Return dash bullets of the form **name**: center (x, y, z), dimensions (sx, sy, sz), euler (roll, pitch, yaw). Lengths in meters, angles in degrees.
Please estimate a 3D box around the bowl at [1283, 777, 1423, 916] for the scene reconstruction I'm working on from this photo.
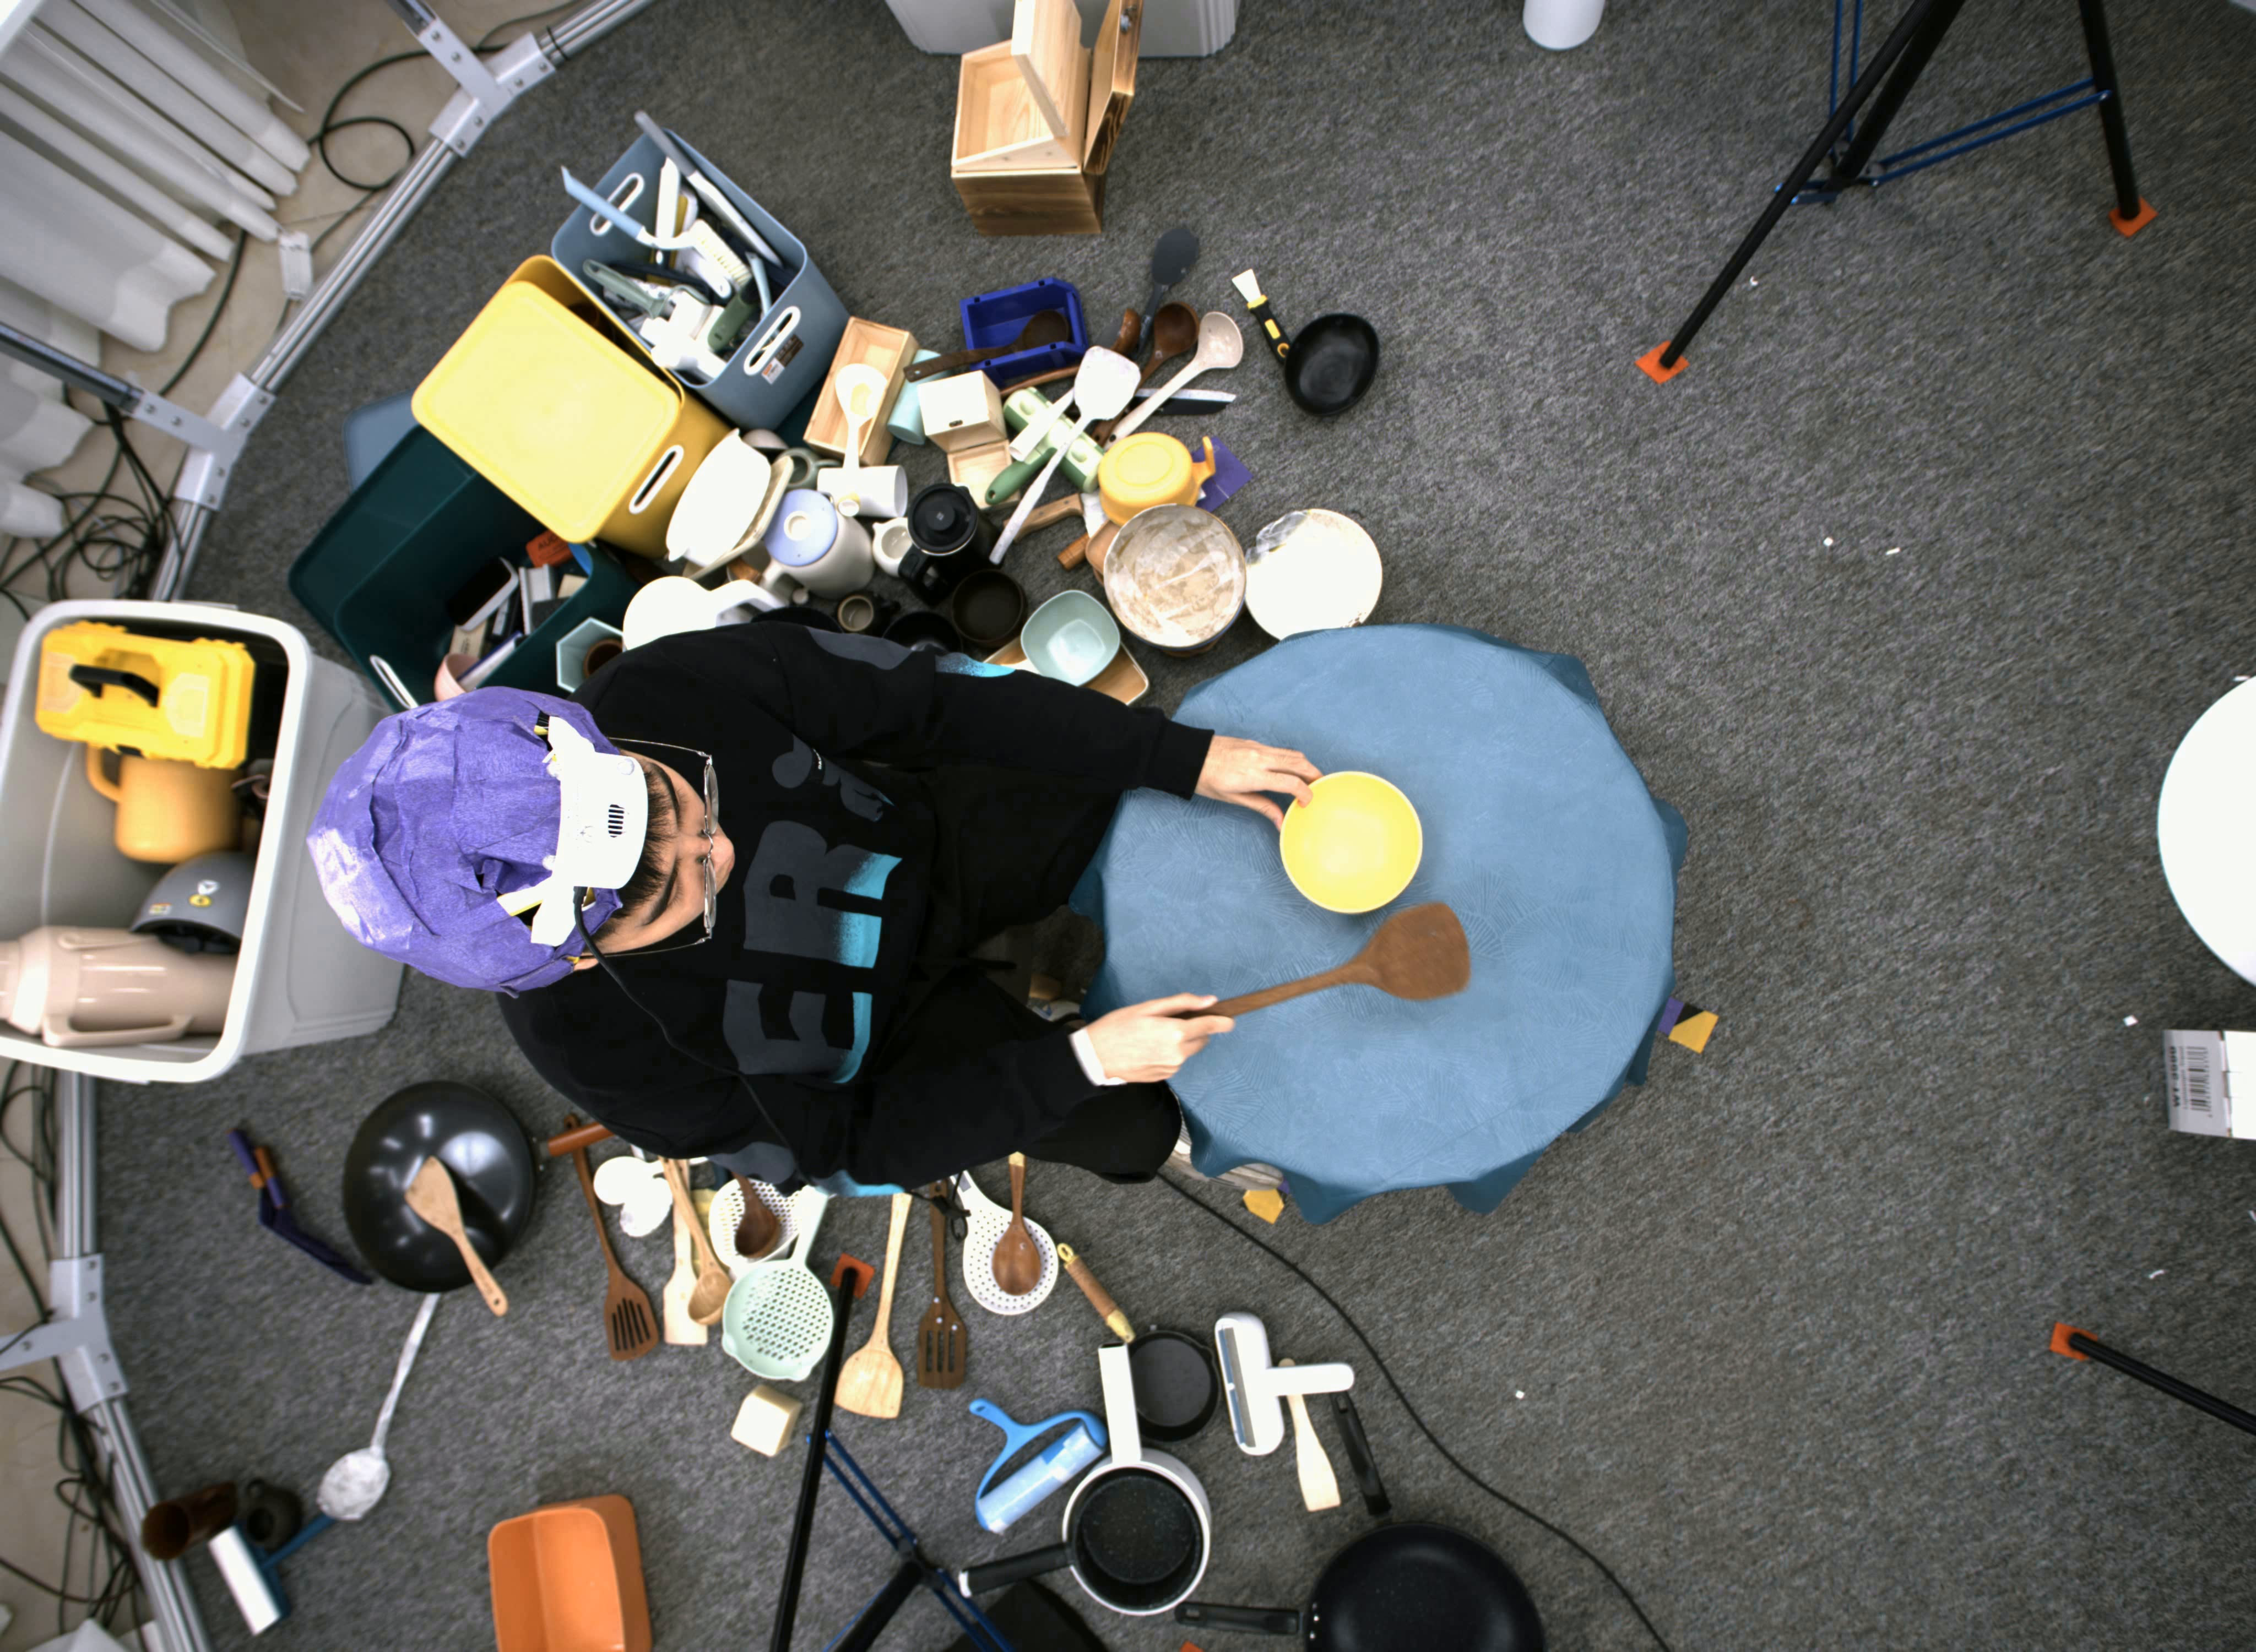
- **bowl**: center (0.233, 0.023, 1.444), dimensions (0.146, 0.060, 0.144), euler (-1, 84, 6)

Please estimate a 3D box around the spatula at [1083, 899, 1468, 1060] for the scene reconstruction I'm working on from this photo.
- **spatula**: center (0.141, 0.163, 1.348), dimensions (0.387, 0.015, 0.097), euler (-17, 100, 3)
